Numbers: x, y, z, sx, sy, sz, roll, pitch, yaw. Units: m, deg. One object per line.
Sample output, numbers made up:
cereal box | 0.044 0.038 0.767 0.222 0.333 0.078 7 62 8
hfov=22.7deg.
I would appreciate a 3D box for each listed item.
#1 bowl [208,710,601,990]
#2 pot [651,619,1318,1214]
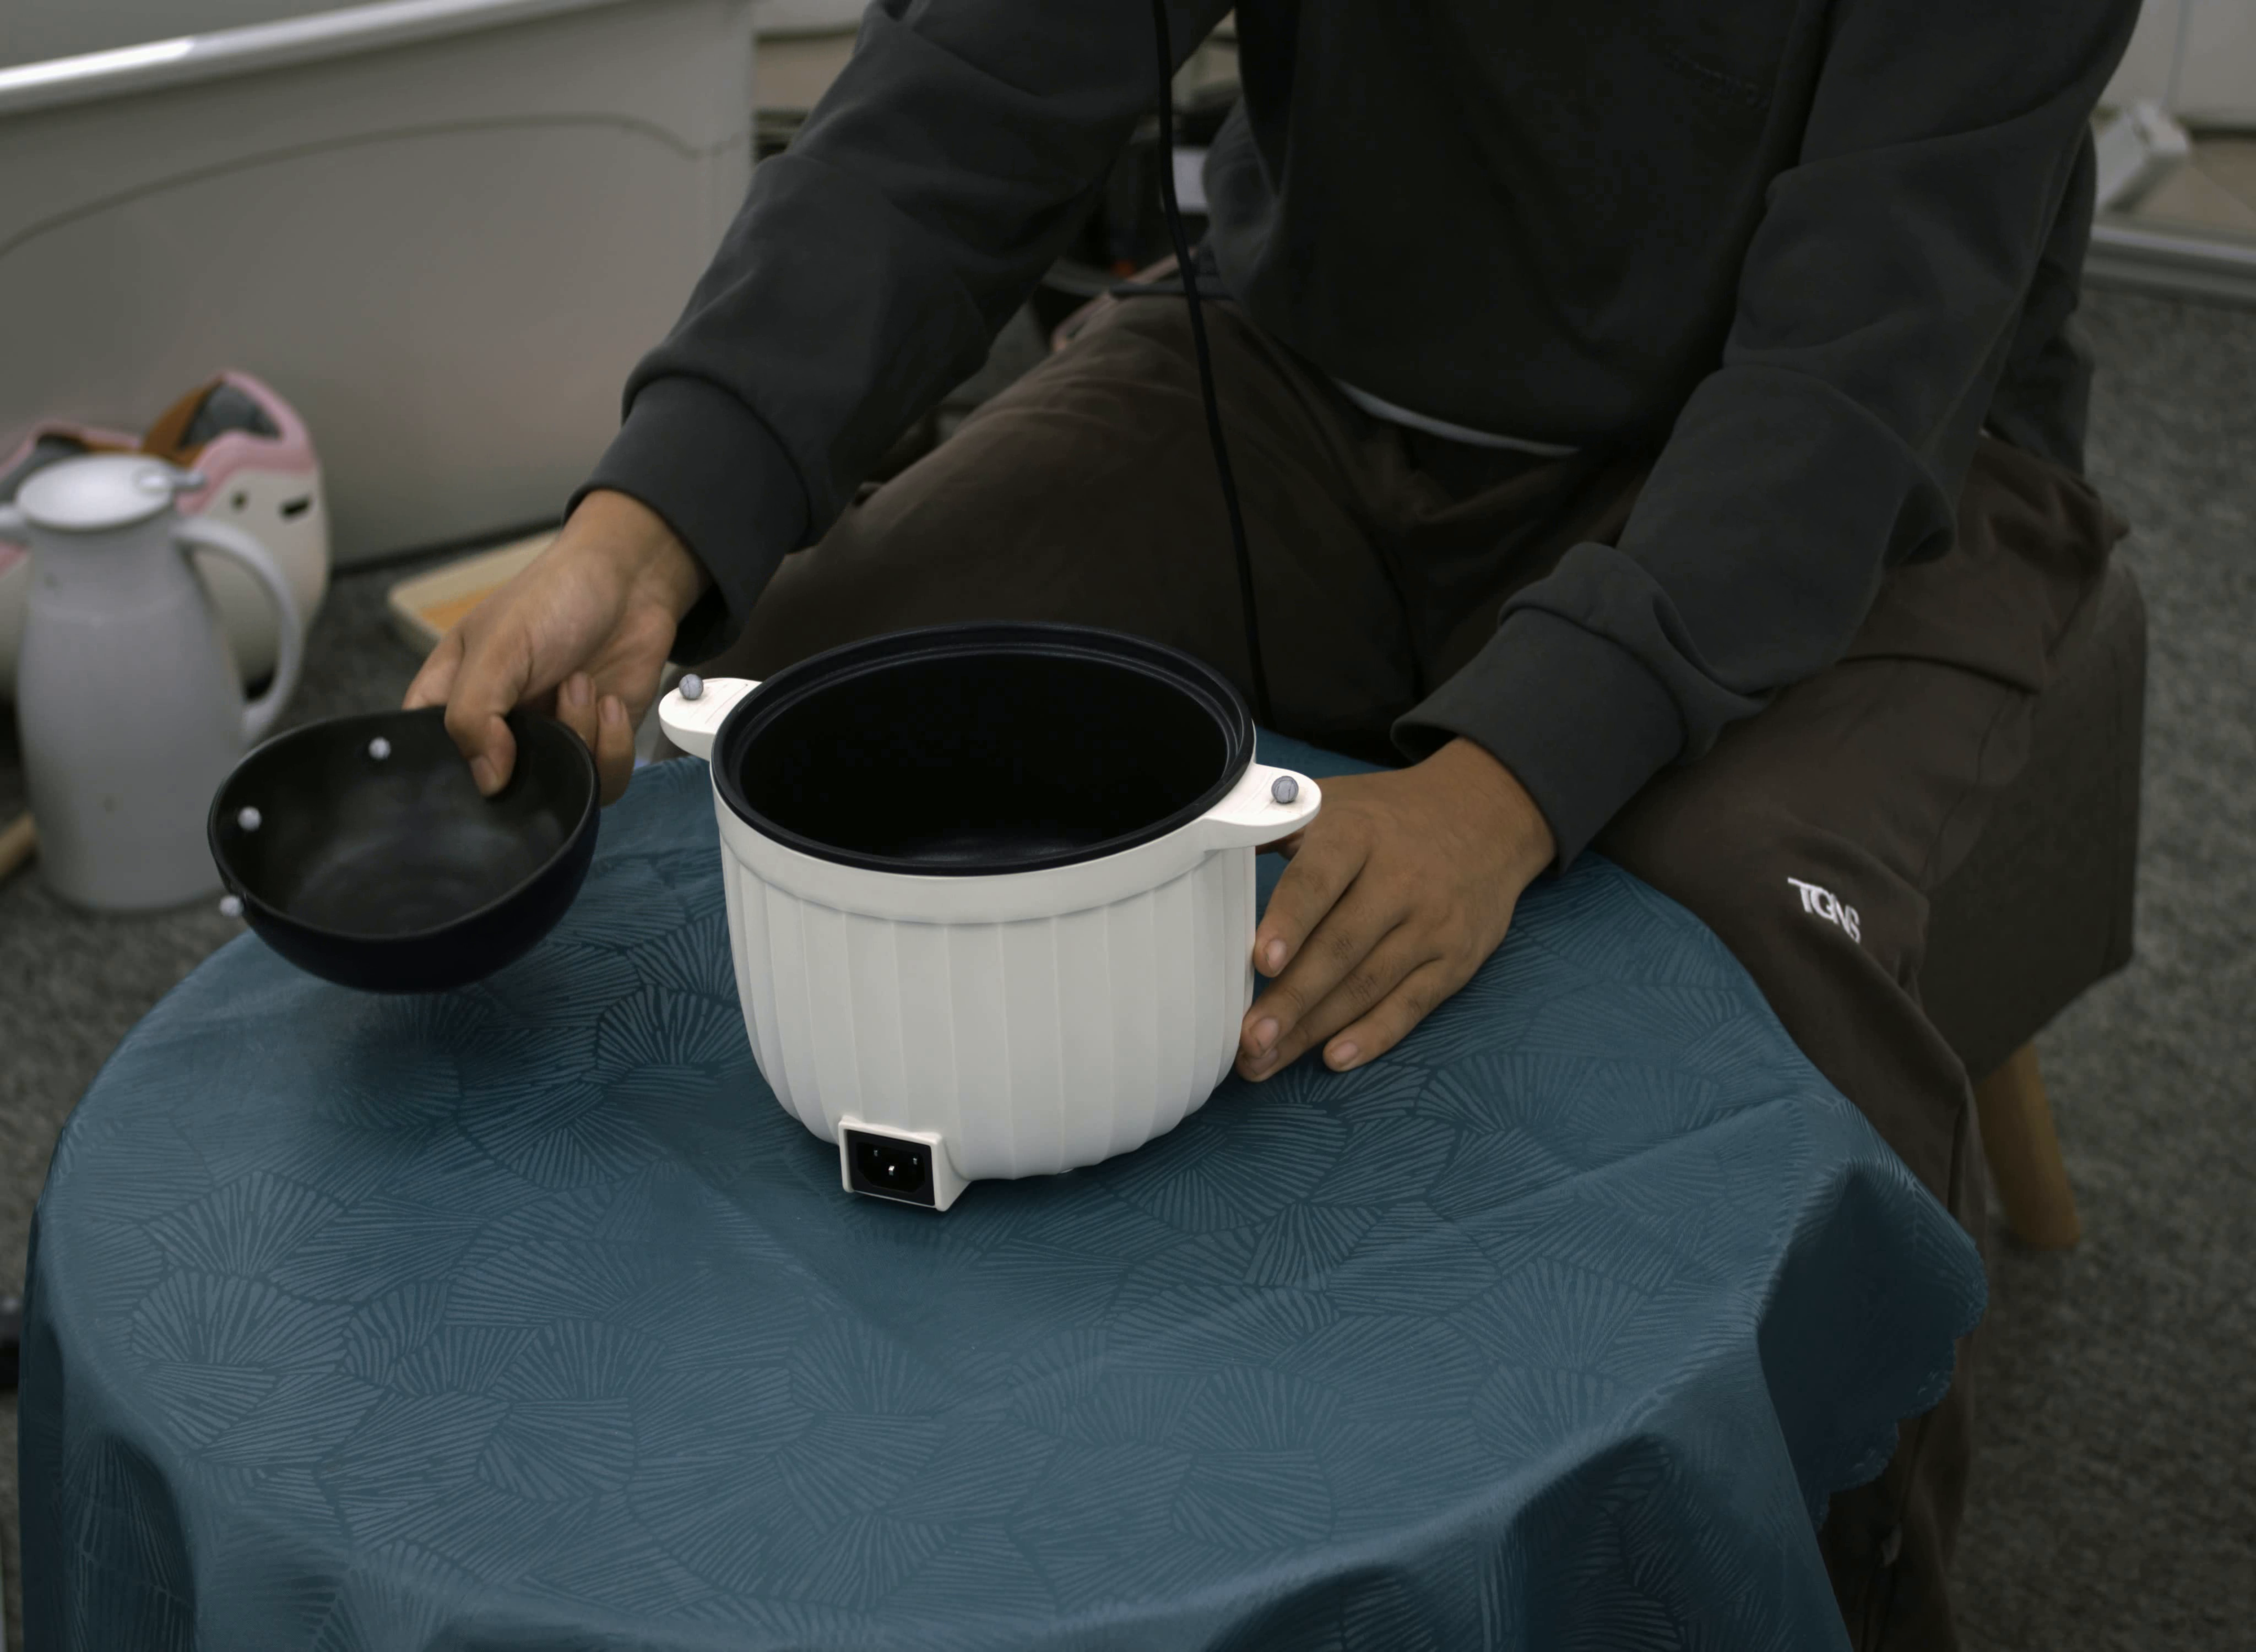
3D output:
bowl | -0.251 0.015 1.984 0.136 0.066 0.173 -3 29 1
pot | -0.045 0.027 1.903 0.239 0.141 0.194 10 32 21
